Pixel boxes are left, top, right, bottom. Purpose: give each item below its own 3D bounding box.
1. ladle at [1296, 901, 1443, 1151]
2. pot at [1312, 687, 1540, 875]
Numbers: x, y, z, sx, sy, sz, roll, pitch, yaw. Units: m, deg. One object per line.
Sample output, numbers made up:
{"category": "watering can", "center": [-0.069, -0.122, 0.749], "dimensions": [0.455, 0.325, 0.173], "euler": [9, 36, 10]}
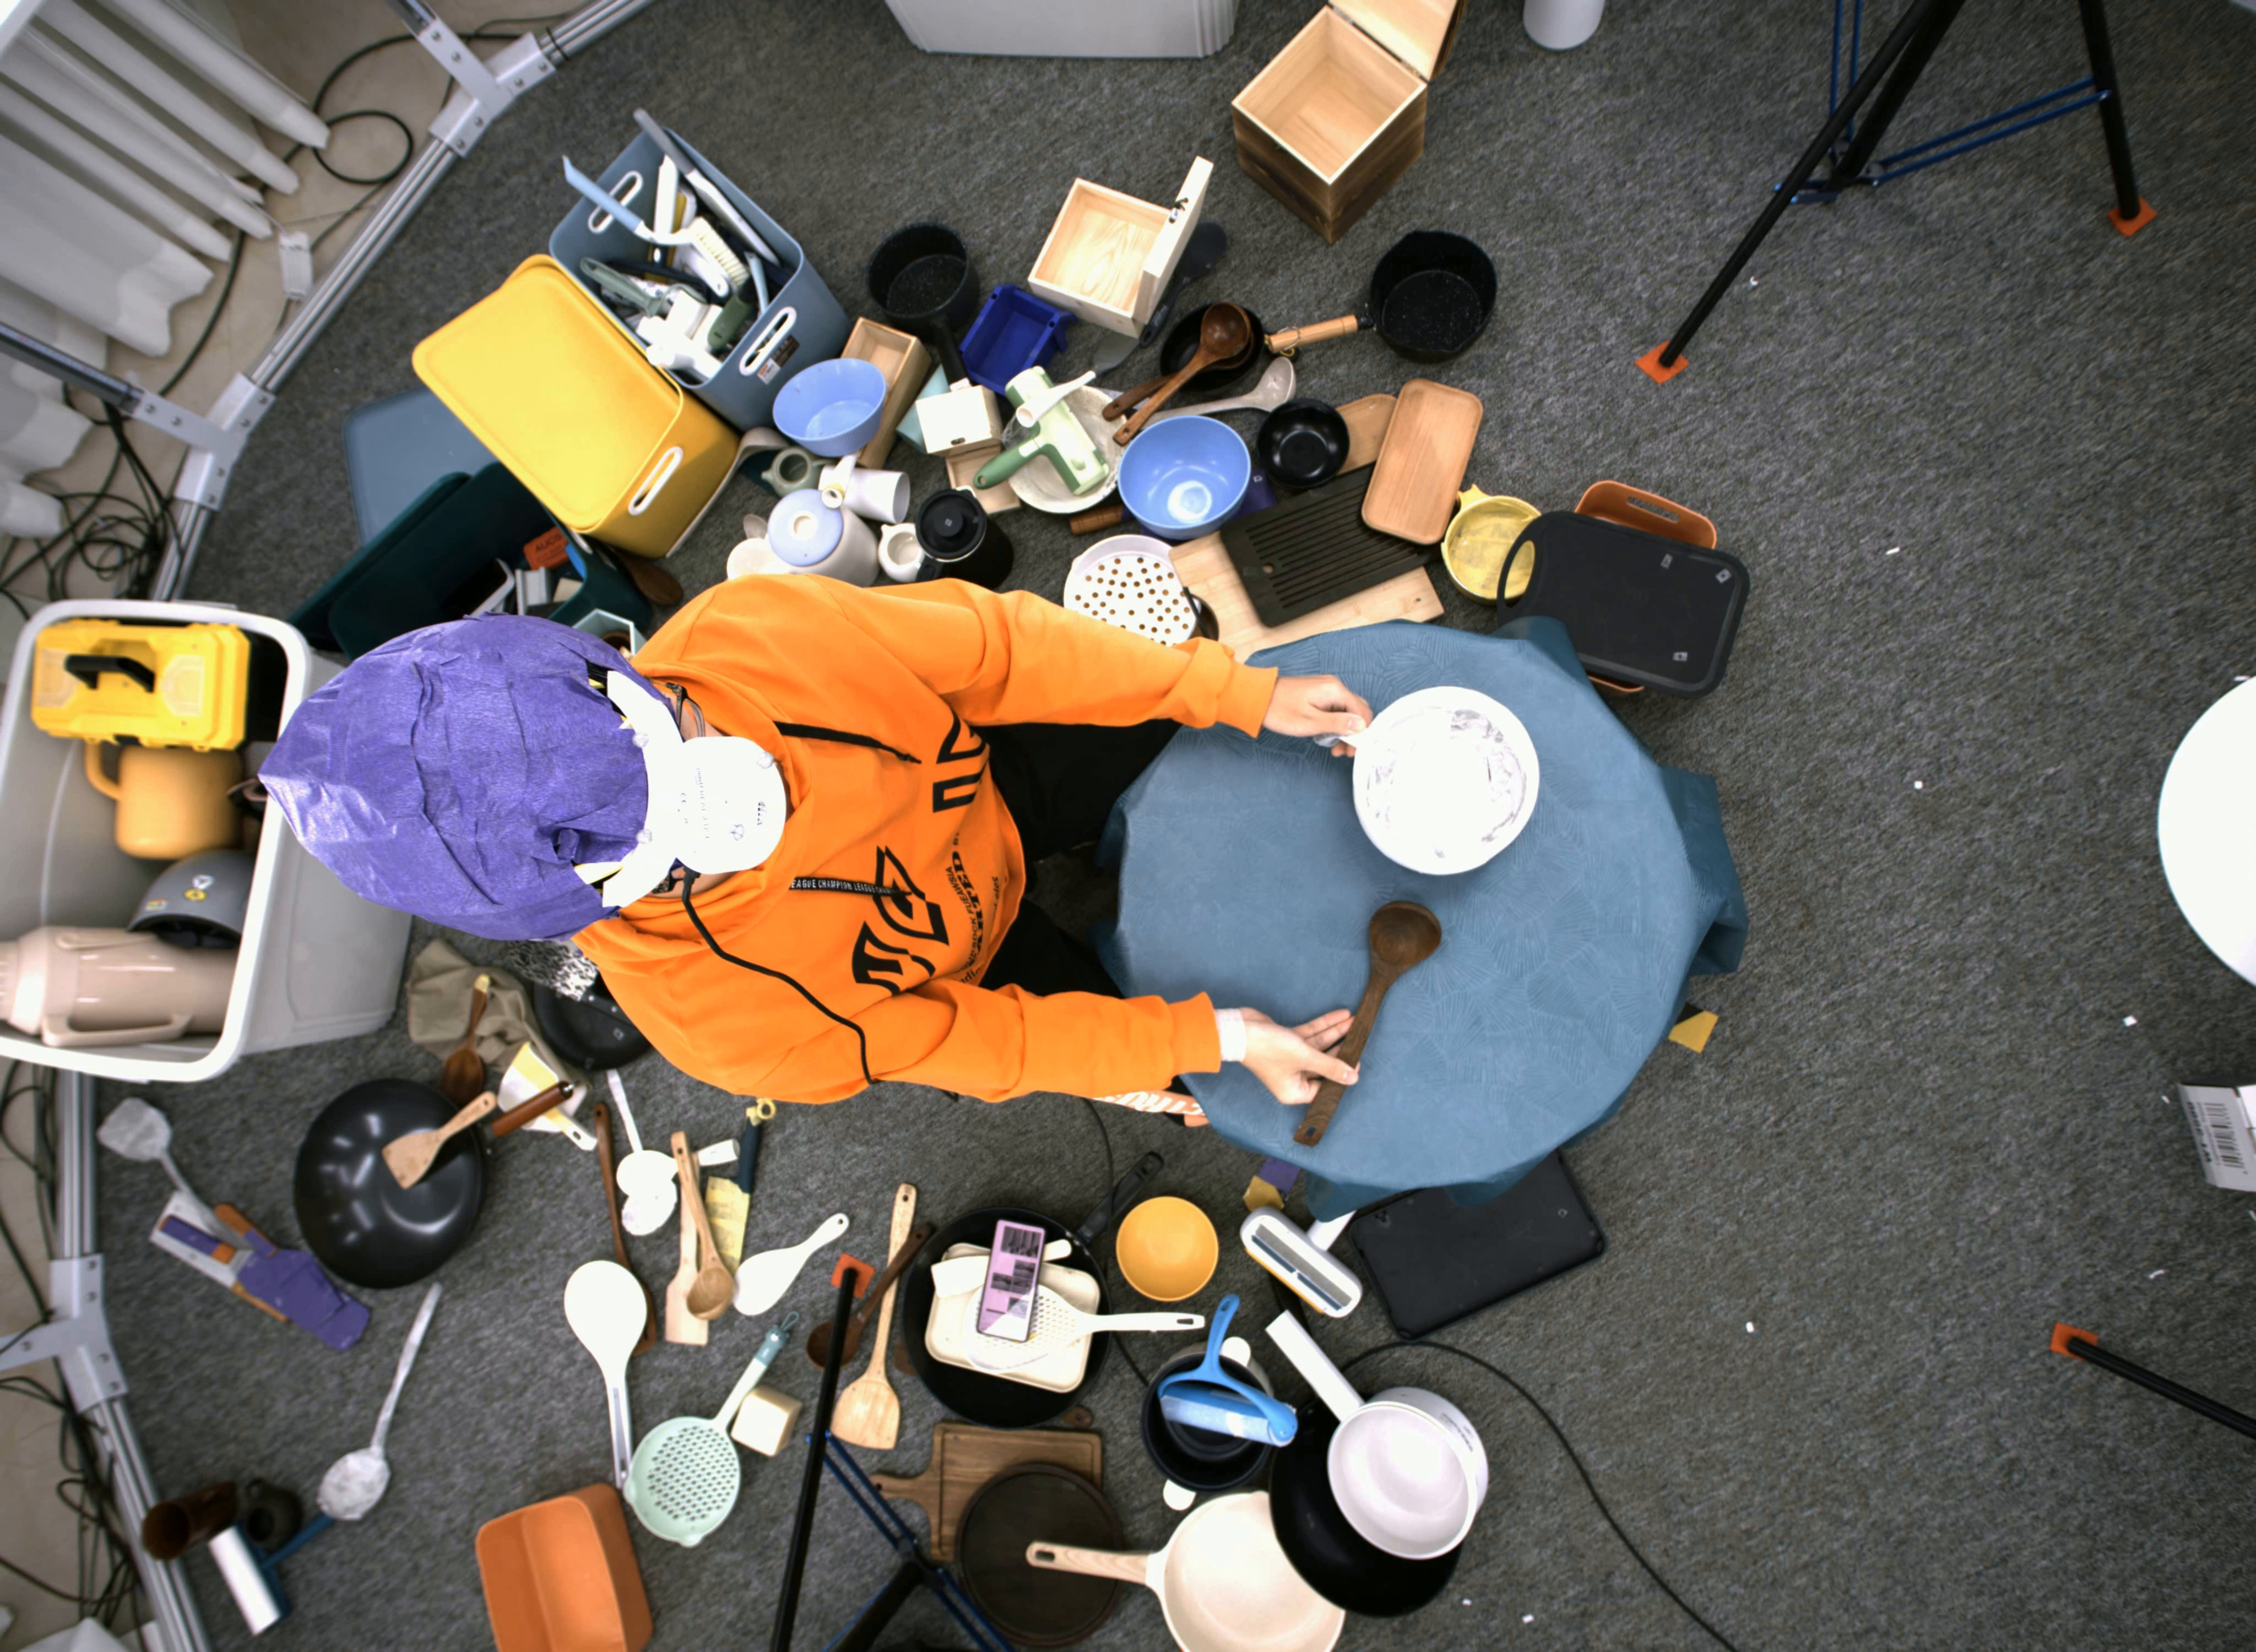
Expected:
{"category": "ladle", "center": [0.241, 0.205, 1.416], "dimensions": [0.076, 0.071, 0.273], "euler": [25, 86, 8]}
{"category": "pot", "center": [0.293, -0.055, 1.393], "dimensions": [0.233, 0.137, 0.179], "euler": [28, 90, 11]}
